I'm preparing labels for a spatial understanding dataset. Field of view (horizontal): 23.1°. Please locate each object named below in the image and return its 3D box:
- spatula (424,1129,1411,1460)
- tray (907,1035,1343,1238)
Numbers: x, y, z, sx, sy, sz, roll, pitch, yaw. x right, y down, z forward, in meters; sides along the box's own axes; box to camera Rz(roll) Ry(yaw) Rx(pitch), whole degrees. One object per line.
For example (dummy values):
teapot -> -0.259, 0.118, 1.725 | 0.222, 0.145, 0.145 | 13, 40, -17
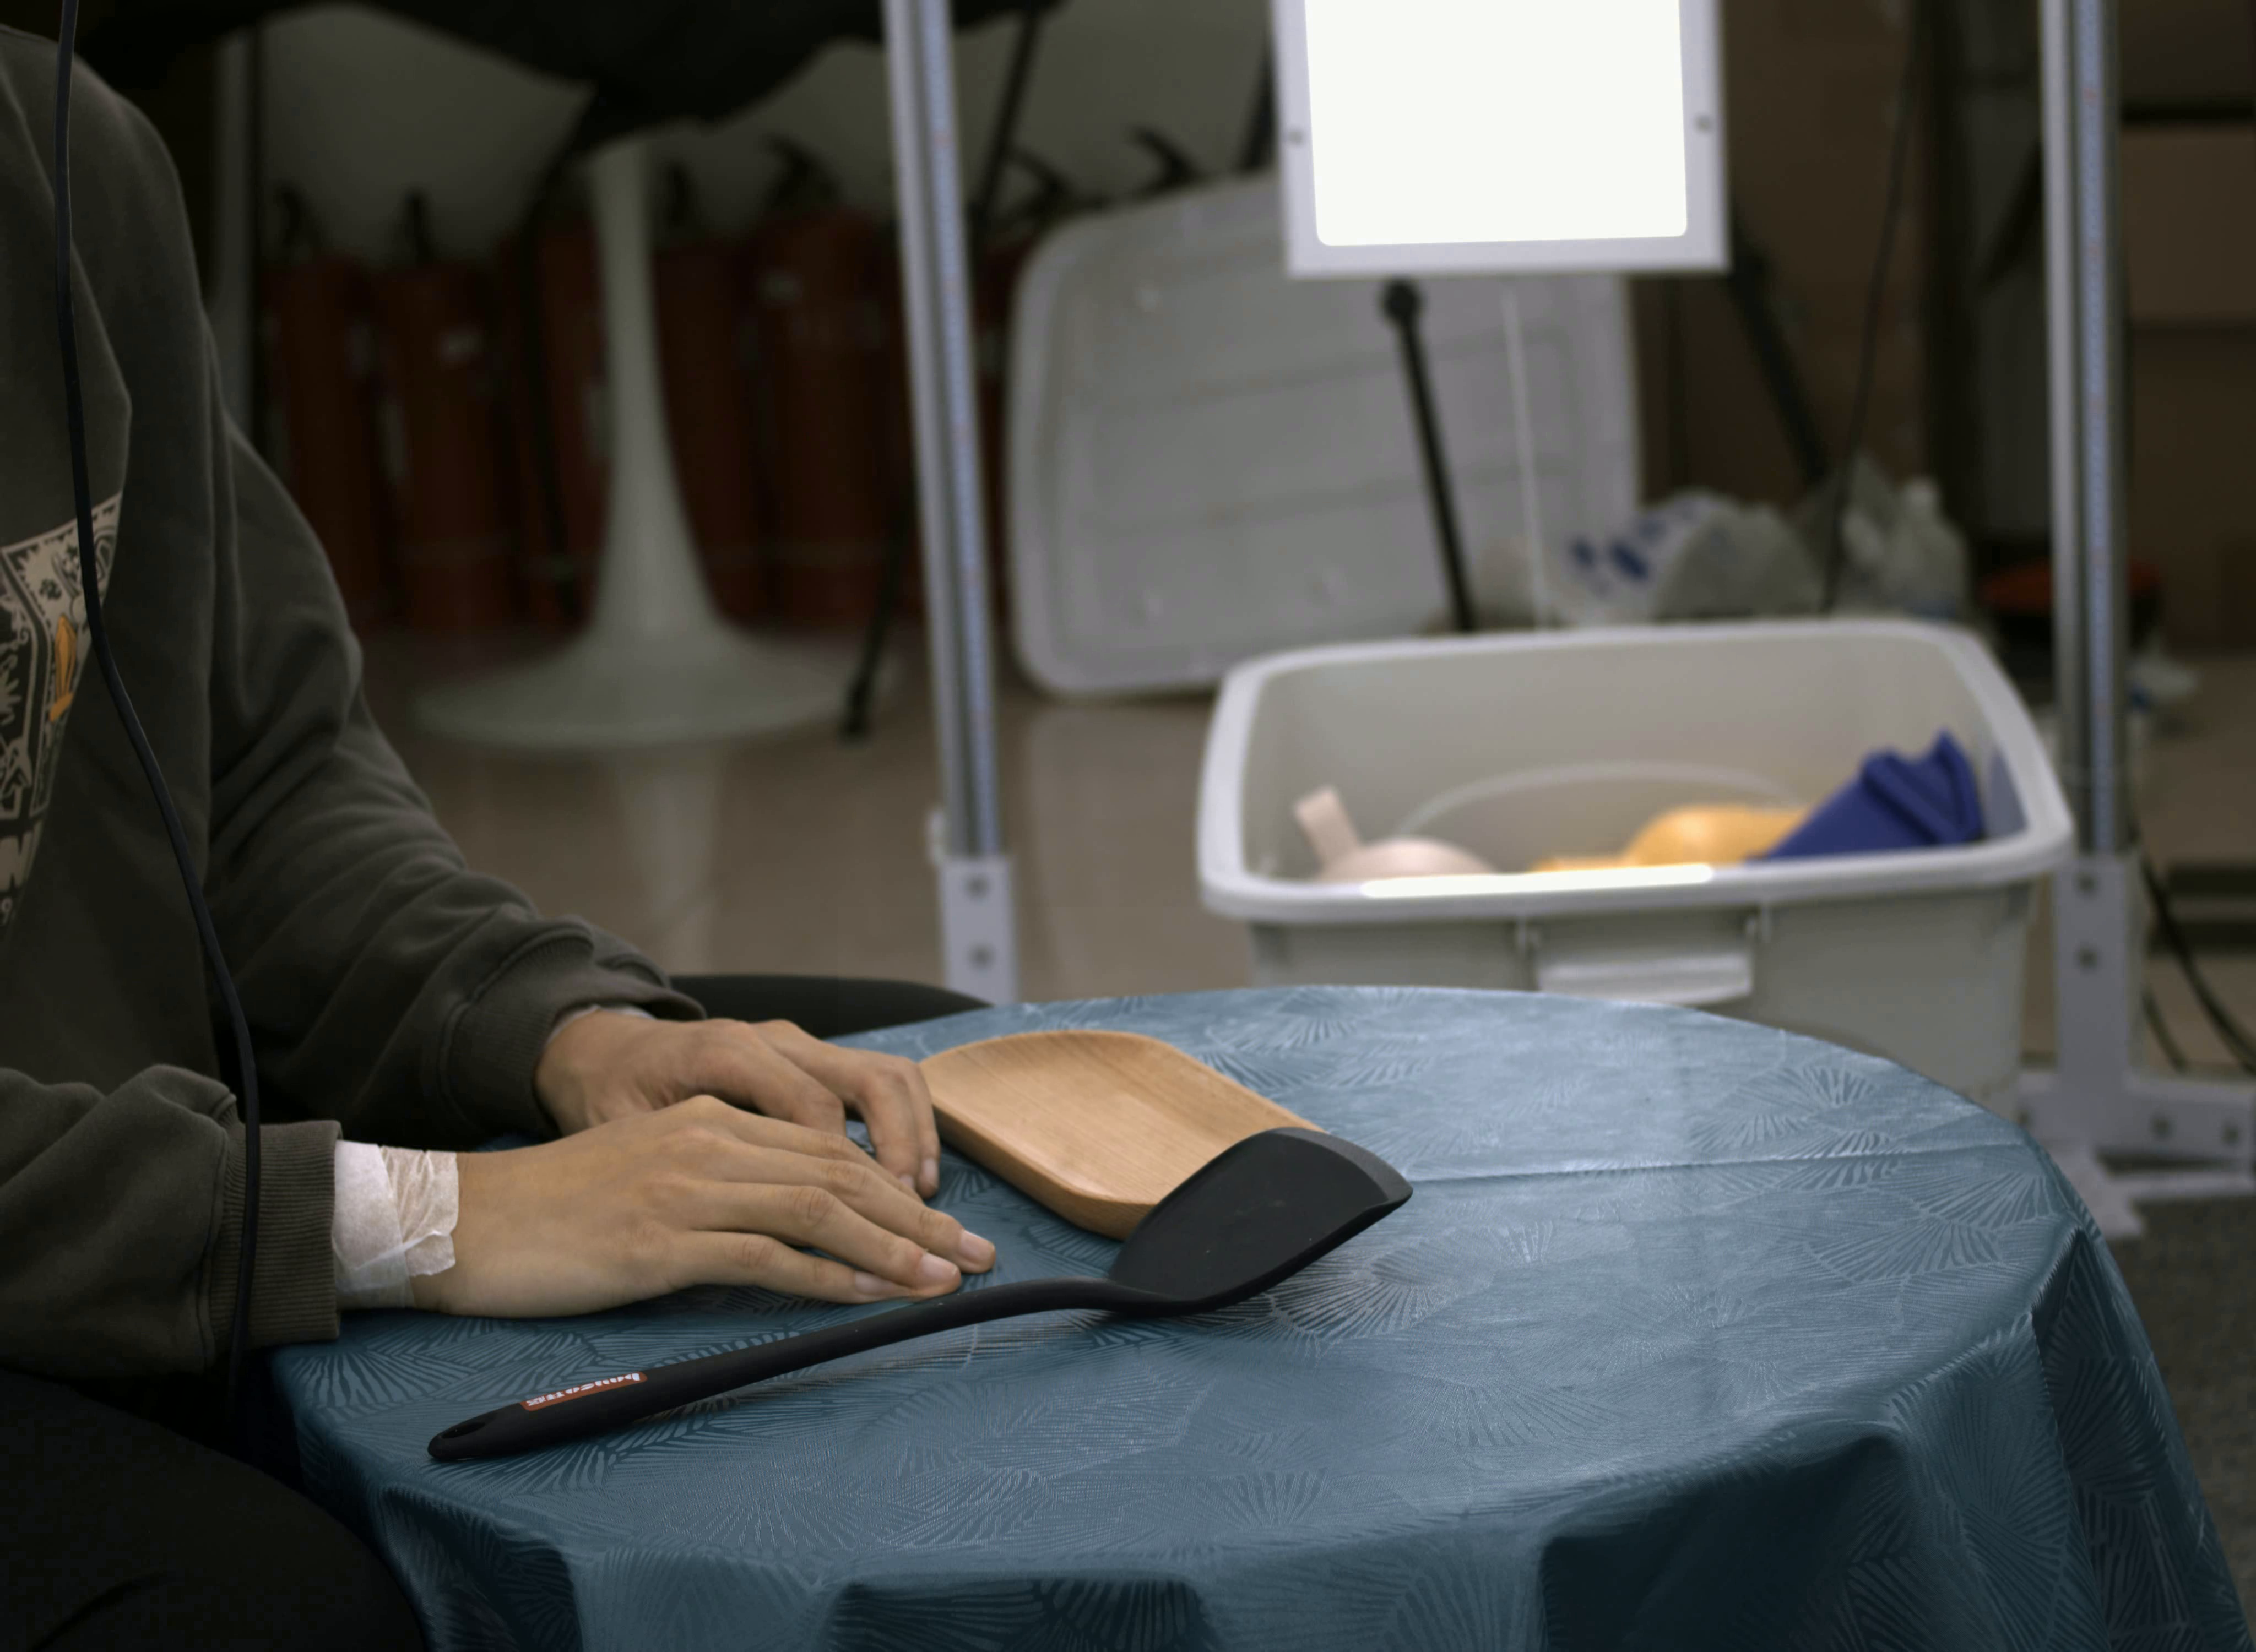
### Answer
spatula -> -0.068, 0.151, 1.745 | 0.320, 0.040, 0.101 | -10, 13, -20
tray -> -0.003, 0.108, 1.938 | 0.100, 0.020, 0.234 | -11, 16, -21
